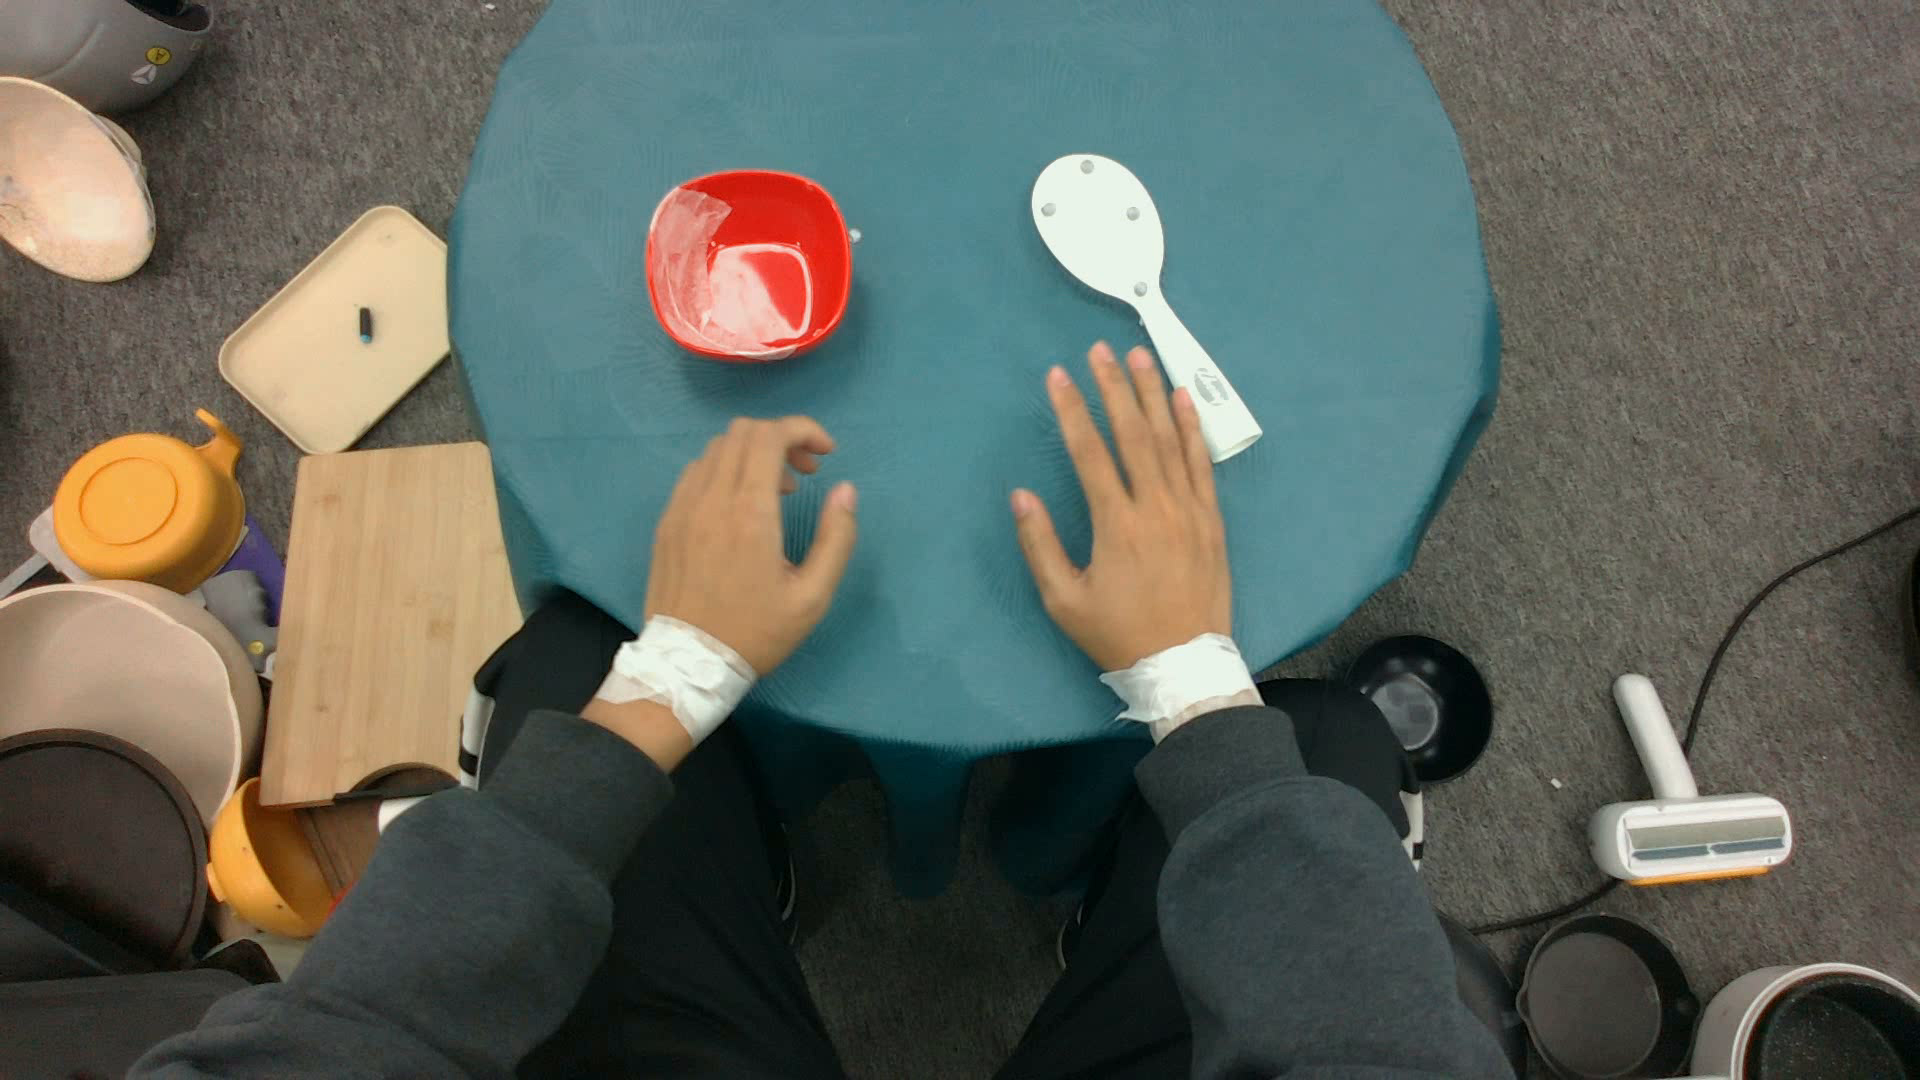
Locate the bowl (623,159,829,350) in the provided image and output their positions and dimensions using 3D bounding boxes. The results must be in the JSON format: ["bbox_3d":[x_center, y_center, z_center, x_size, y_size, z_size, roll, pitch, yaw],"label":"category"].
[{"bbox_3d":[-0.127,-0.150,0.763,0.119,0.051,0.119,1,73,-2],"label":"bowl"}]

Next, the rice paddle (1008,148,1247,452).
[{"bbox_3d":[0.095,-0.143,0.784,0.069,0.029,0.205,-28,78,-13],"label":"rice paddle"}]
